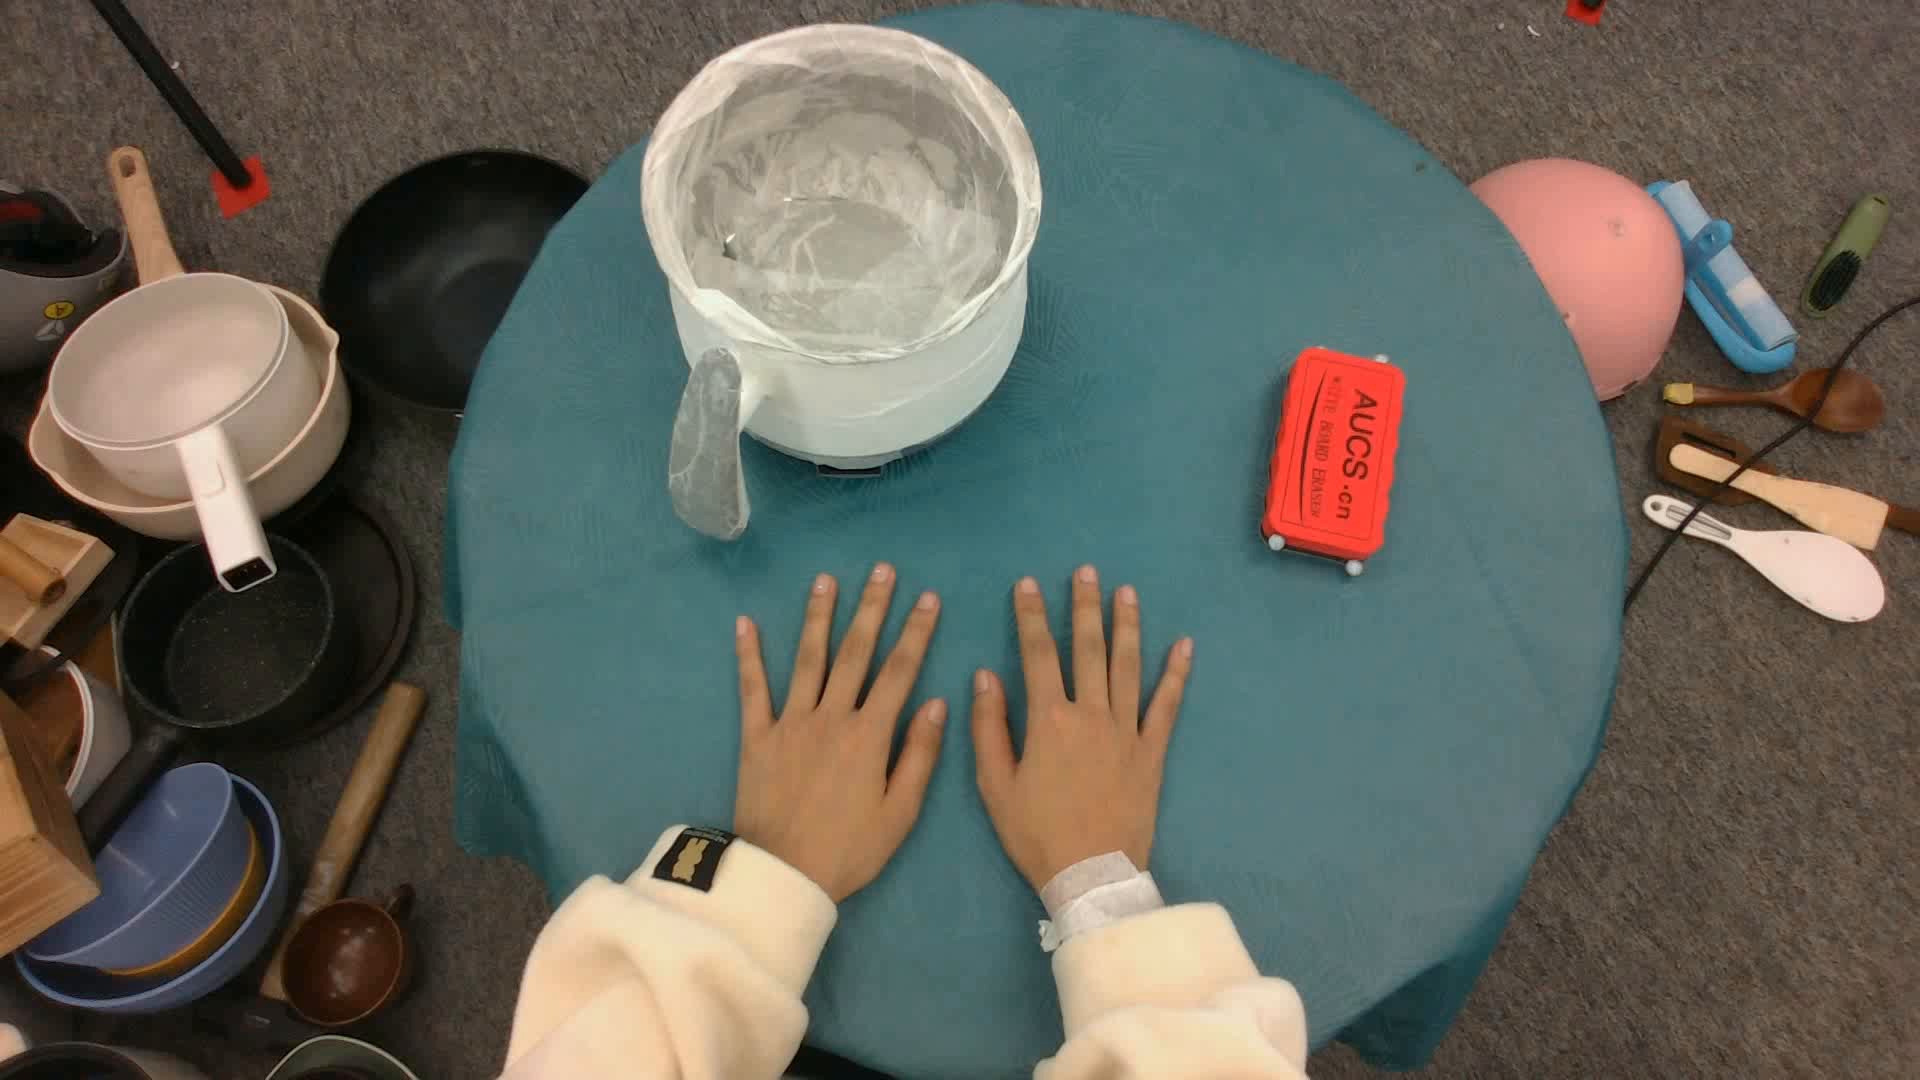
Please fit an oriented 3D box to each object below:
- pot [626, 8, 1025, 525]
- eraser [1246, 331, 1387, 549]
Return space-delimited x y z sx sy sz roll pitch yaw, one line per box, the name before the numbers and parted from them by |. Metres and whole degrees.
pot | -0.075 -0.120 0.659 0.178 0.136 0.234 26 69 7
eraser | 0.183 -0.052 0.707 0.059 0.023 0.108 13 71 2
